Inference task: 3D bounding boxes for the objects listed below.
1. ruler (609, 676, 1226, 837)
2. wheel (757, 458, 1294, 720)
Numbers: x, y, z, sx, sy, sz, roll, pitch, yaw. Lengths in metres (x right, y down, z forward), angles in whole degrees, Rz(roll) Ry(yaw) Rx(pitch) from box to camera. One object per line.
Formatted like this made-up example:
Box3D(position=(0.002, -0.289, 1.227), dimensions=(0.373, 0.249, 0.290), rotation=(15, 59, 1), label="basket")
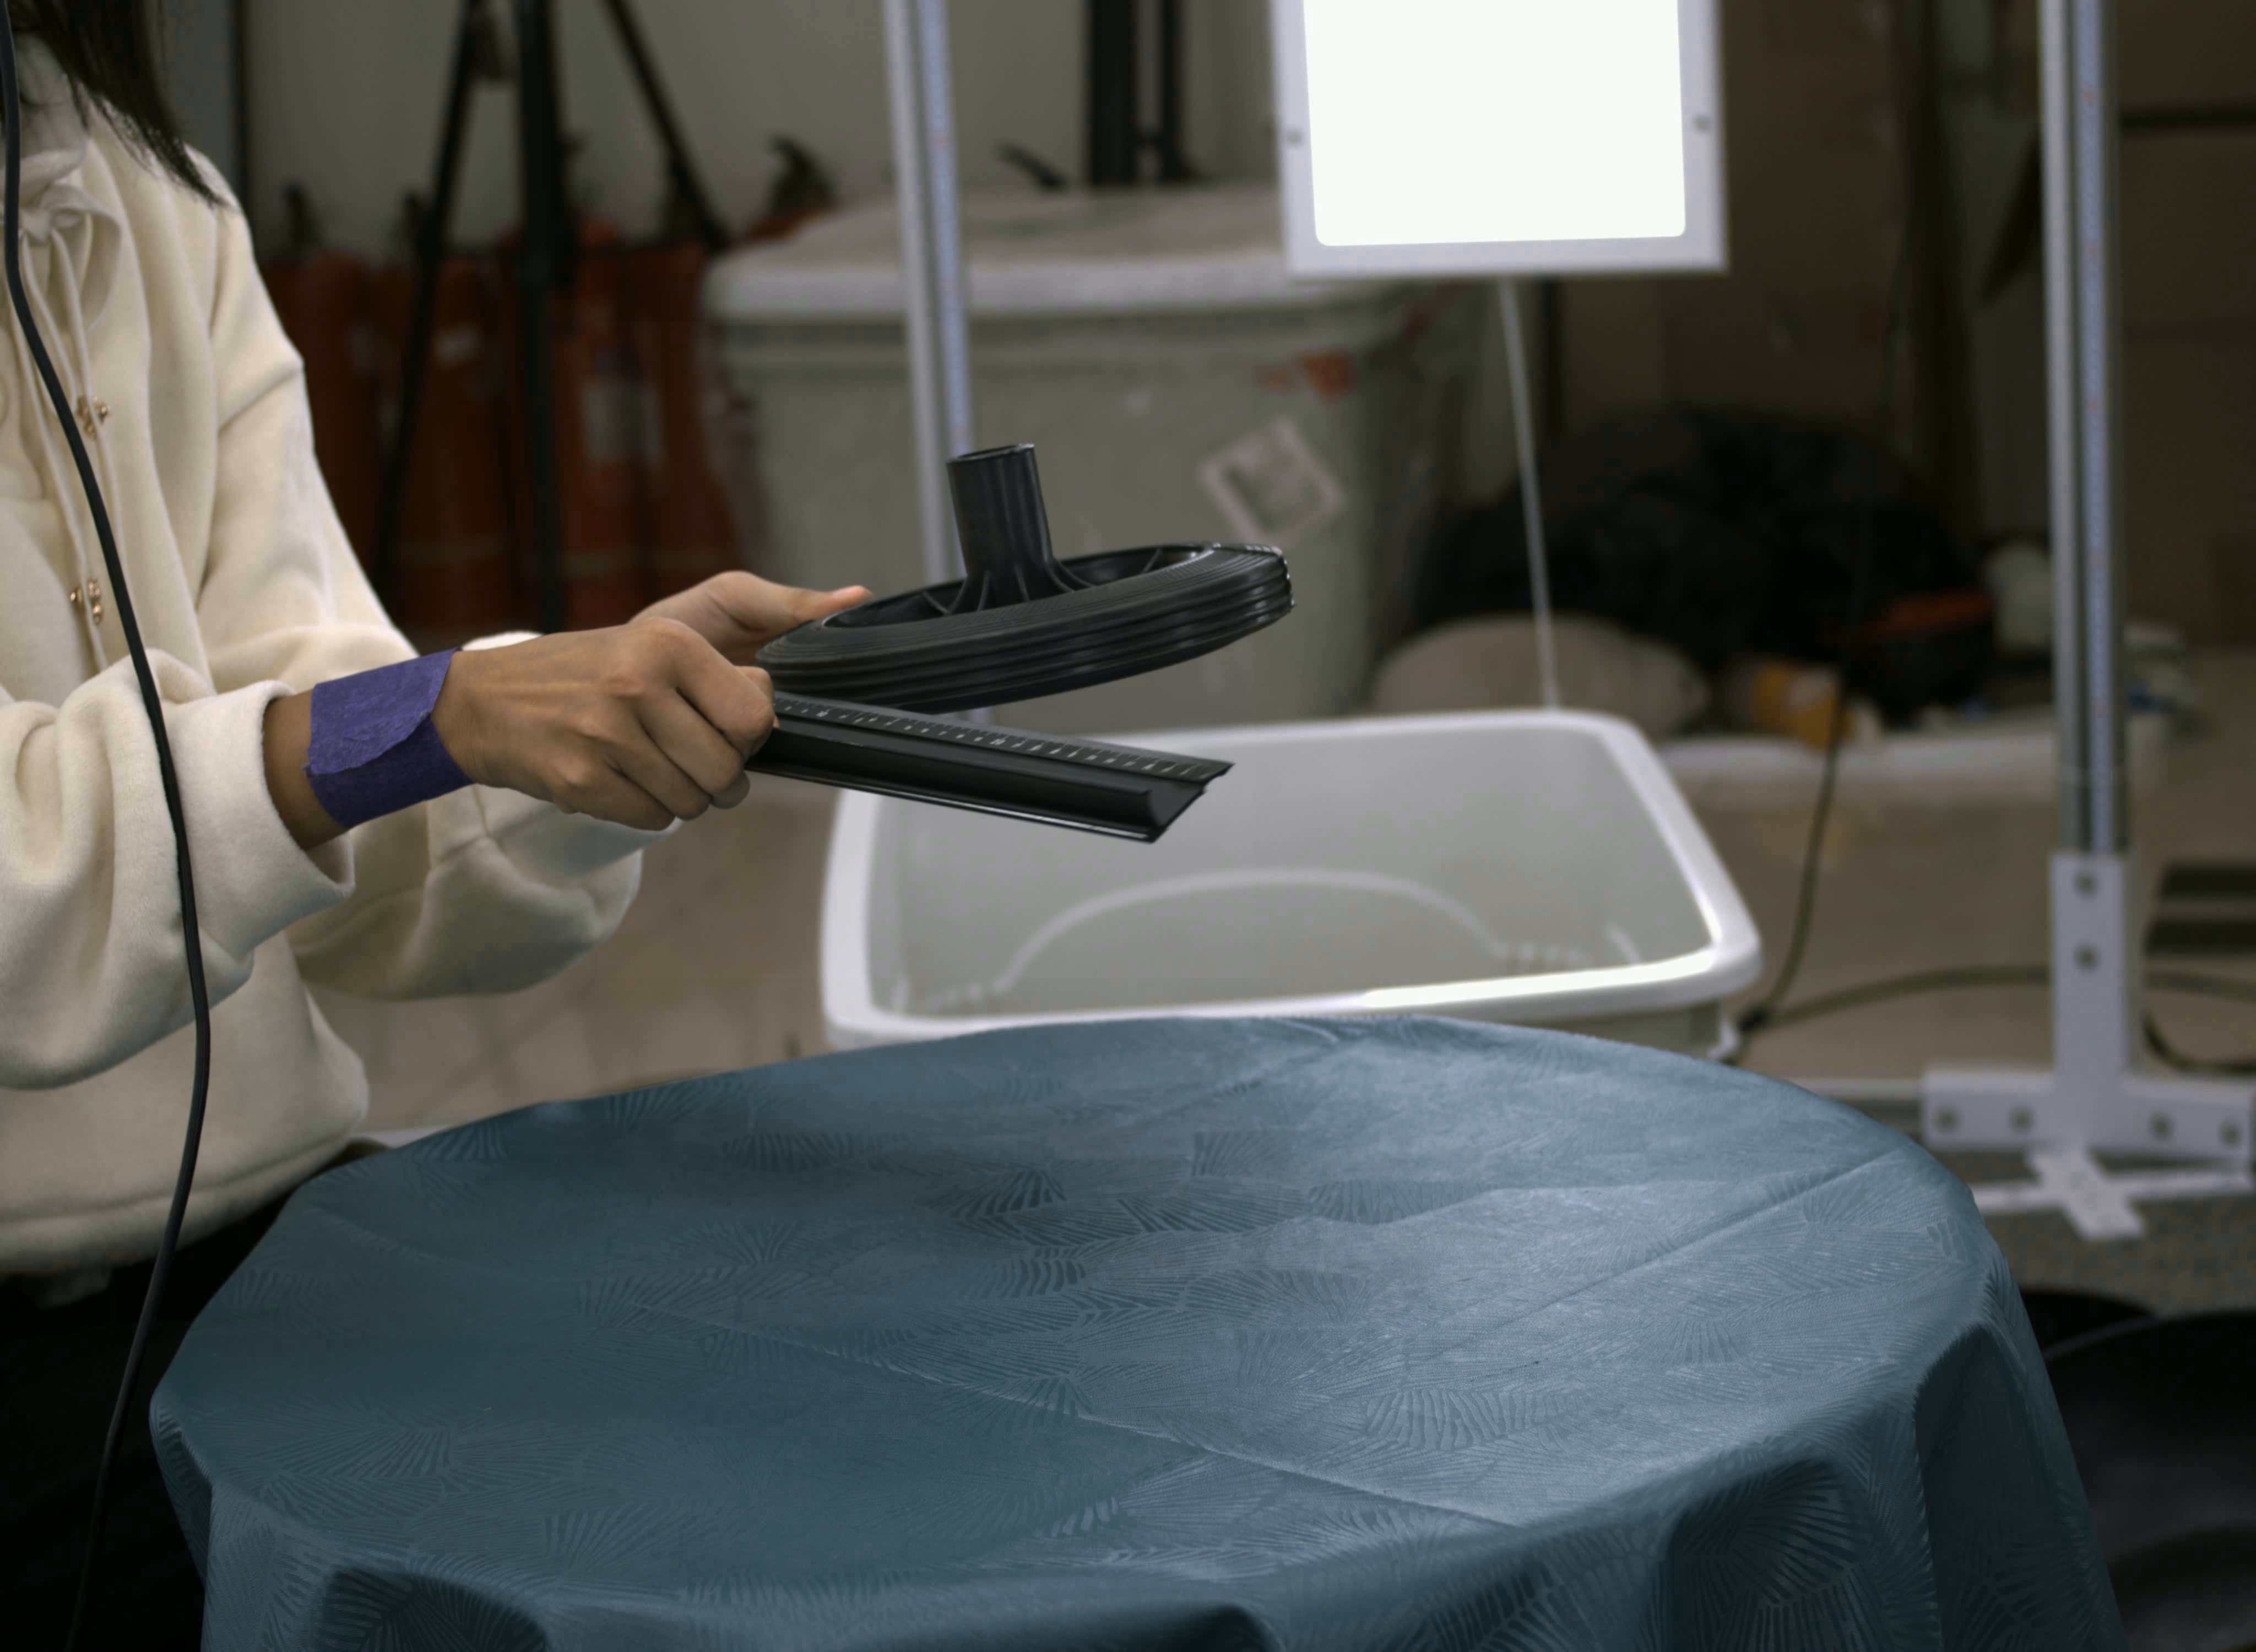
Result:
Box3D(position=(-0.075, -0.030, 1.774), dimensions=(0.038, 0.017, 0.319), rotation=(-41, 27, -25), label="ruler")
Box3D(position=(-0.039, -0.086, 1.897), dimensions=(0.185, 0.079, 0.191), rotation=(-17, 10, -39), label="wheel")
